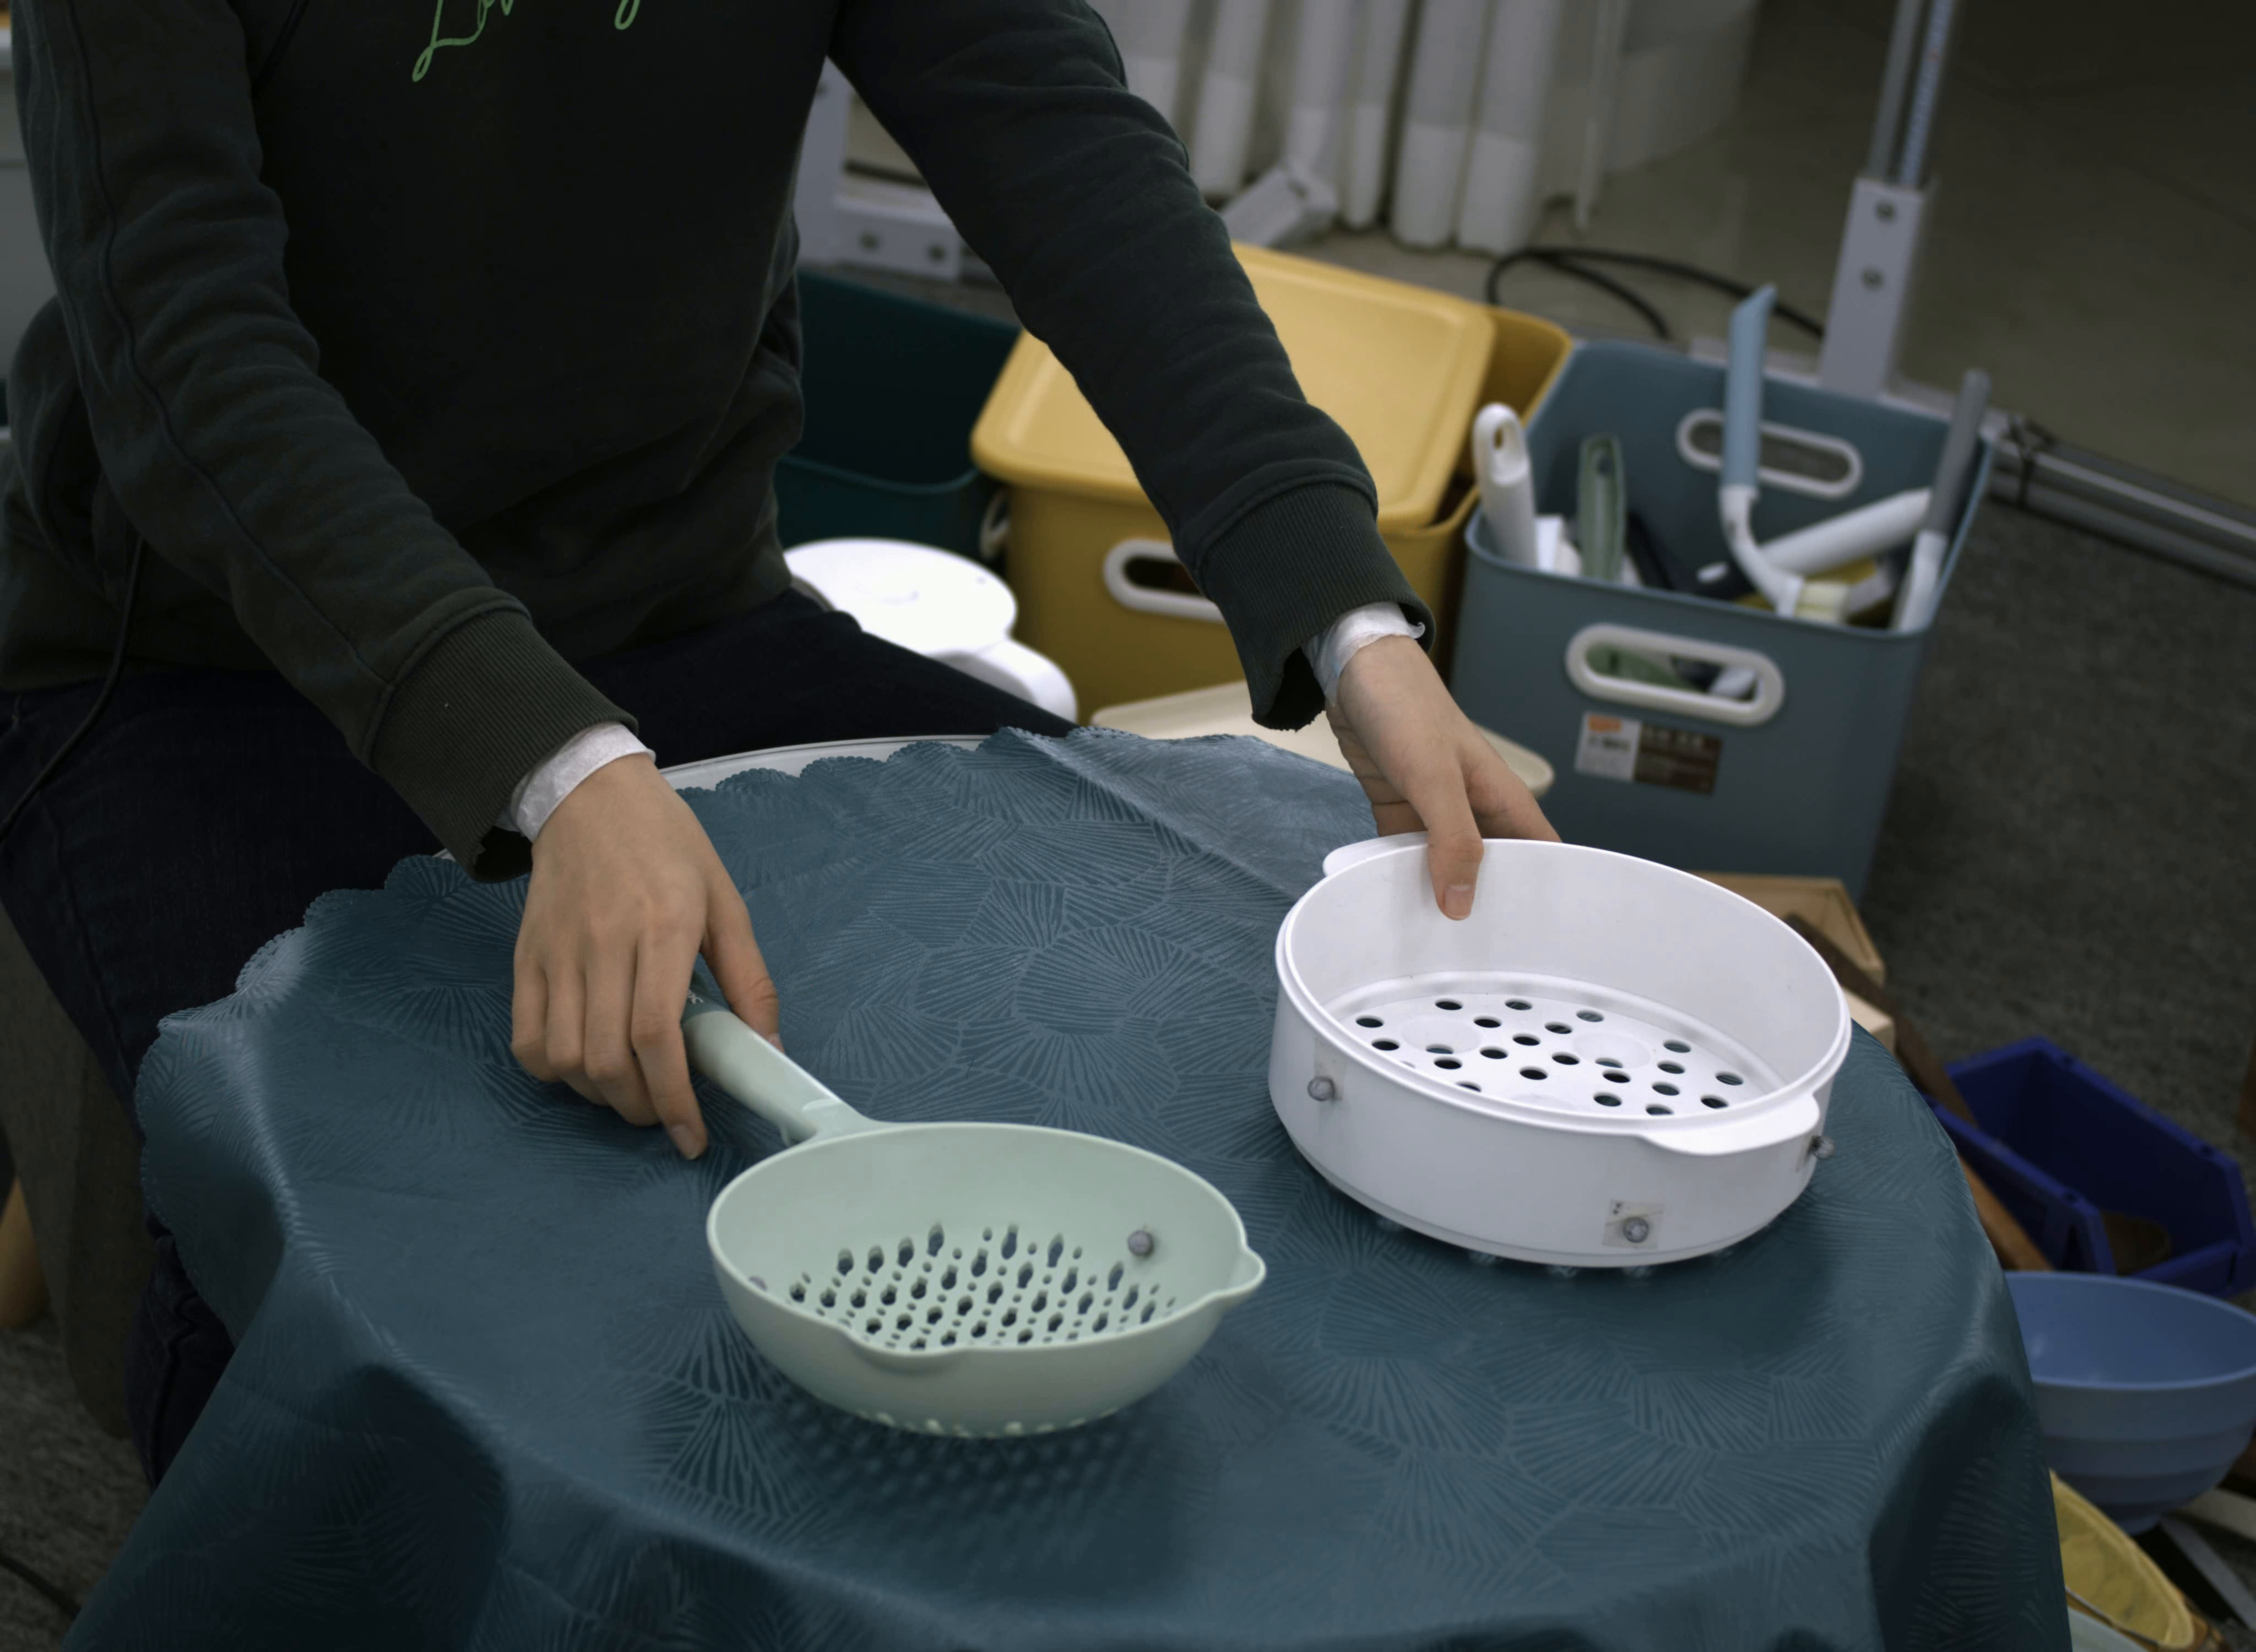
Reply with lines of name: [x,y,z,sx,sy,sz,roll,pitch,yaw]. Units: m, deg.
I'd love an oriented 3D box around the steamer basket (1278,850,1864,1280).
steamer basket: [0.150,0.084,1.843,0.200,0.069,0.232,-10,30,-31]

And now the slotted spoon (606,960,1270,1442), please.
slotted spoon: [-0.094,0.106,1.741,0.168,0.075,0.362,-8,30,-28]
